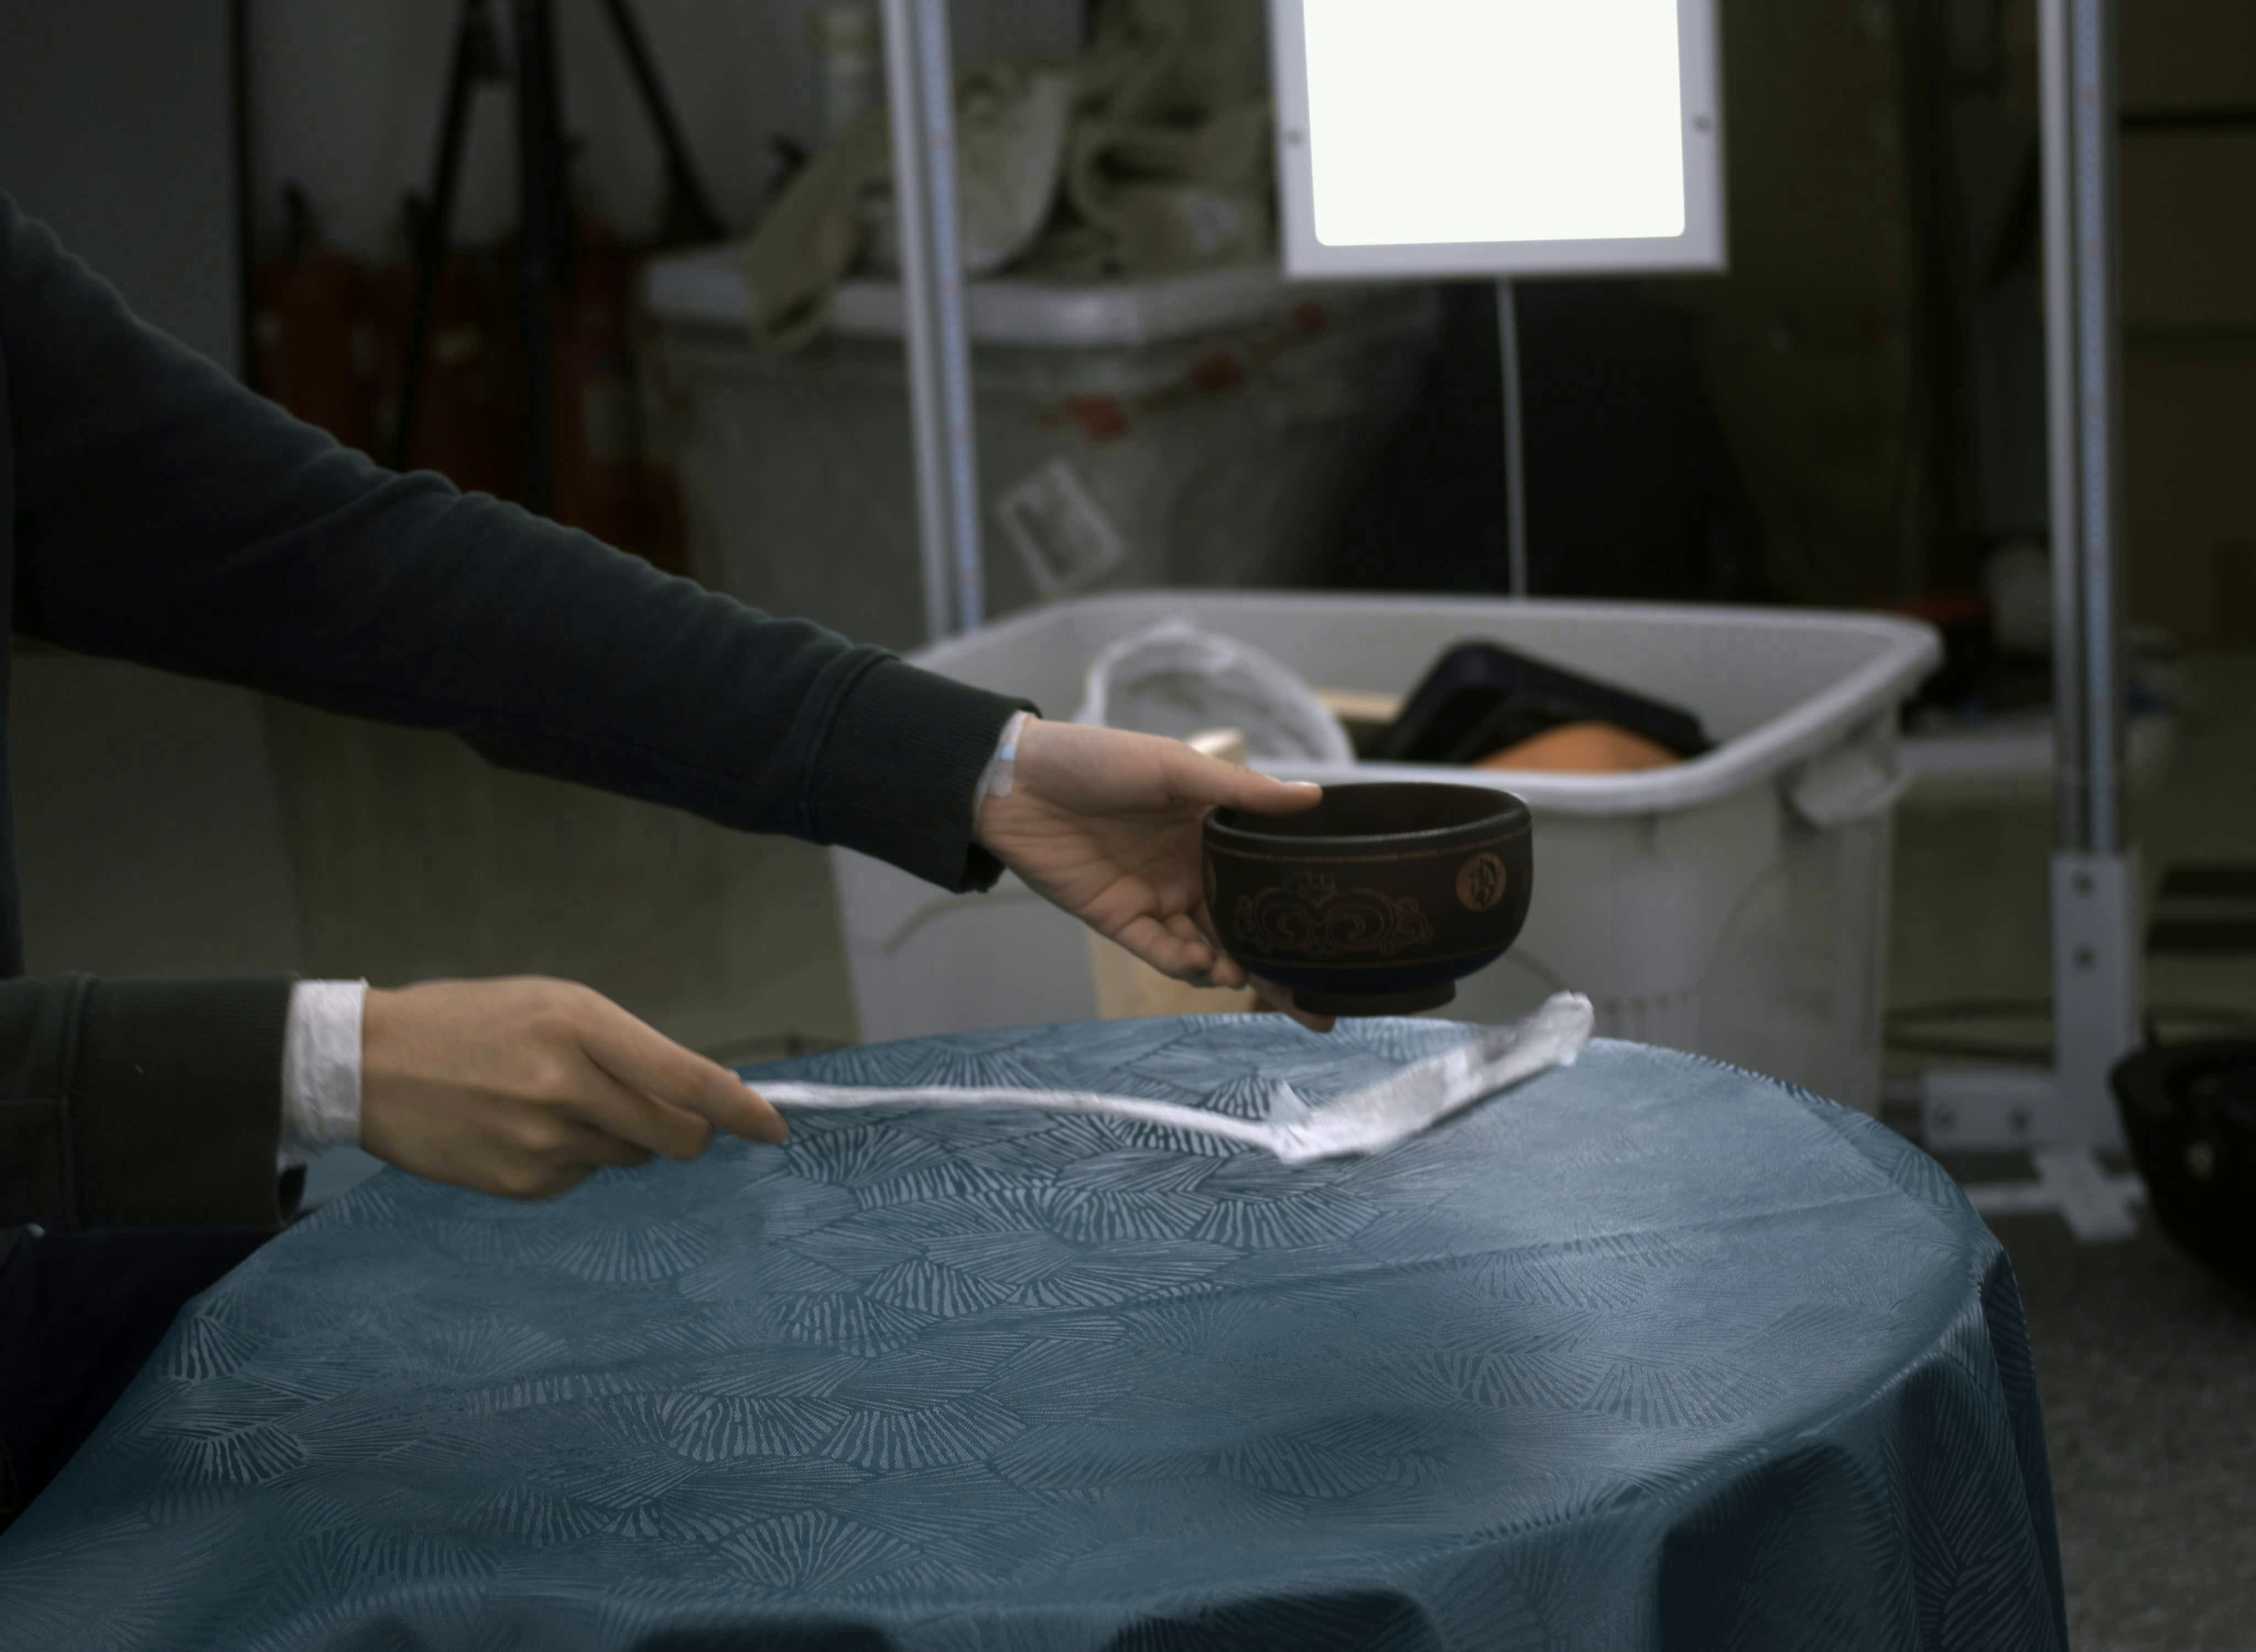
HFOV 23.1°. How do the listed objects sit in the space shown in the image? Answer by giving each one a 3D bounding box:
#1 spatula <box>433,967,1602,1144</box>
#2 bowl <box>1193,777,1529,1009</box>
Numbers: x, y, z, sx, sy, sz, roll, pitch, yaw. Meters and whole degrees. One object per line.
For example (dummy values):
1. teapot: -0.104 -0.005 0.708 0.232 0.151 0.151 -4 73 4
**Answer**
1. spatula: -0.040 0.072 1.651 0.368 0.045 0.097 0 13 14
2. bowl: 0.083 0.025 1.914 0.117 0.070 0.118 -5 8 -1
